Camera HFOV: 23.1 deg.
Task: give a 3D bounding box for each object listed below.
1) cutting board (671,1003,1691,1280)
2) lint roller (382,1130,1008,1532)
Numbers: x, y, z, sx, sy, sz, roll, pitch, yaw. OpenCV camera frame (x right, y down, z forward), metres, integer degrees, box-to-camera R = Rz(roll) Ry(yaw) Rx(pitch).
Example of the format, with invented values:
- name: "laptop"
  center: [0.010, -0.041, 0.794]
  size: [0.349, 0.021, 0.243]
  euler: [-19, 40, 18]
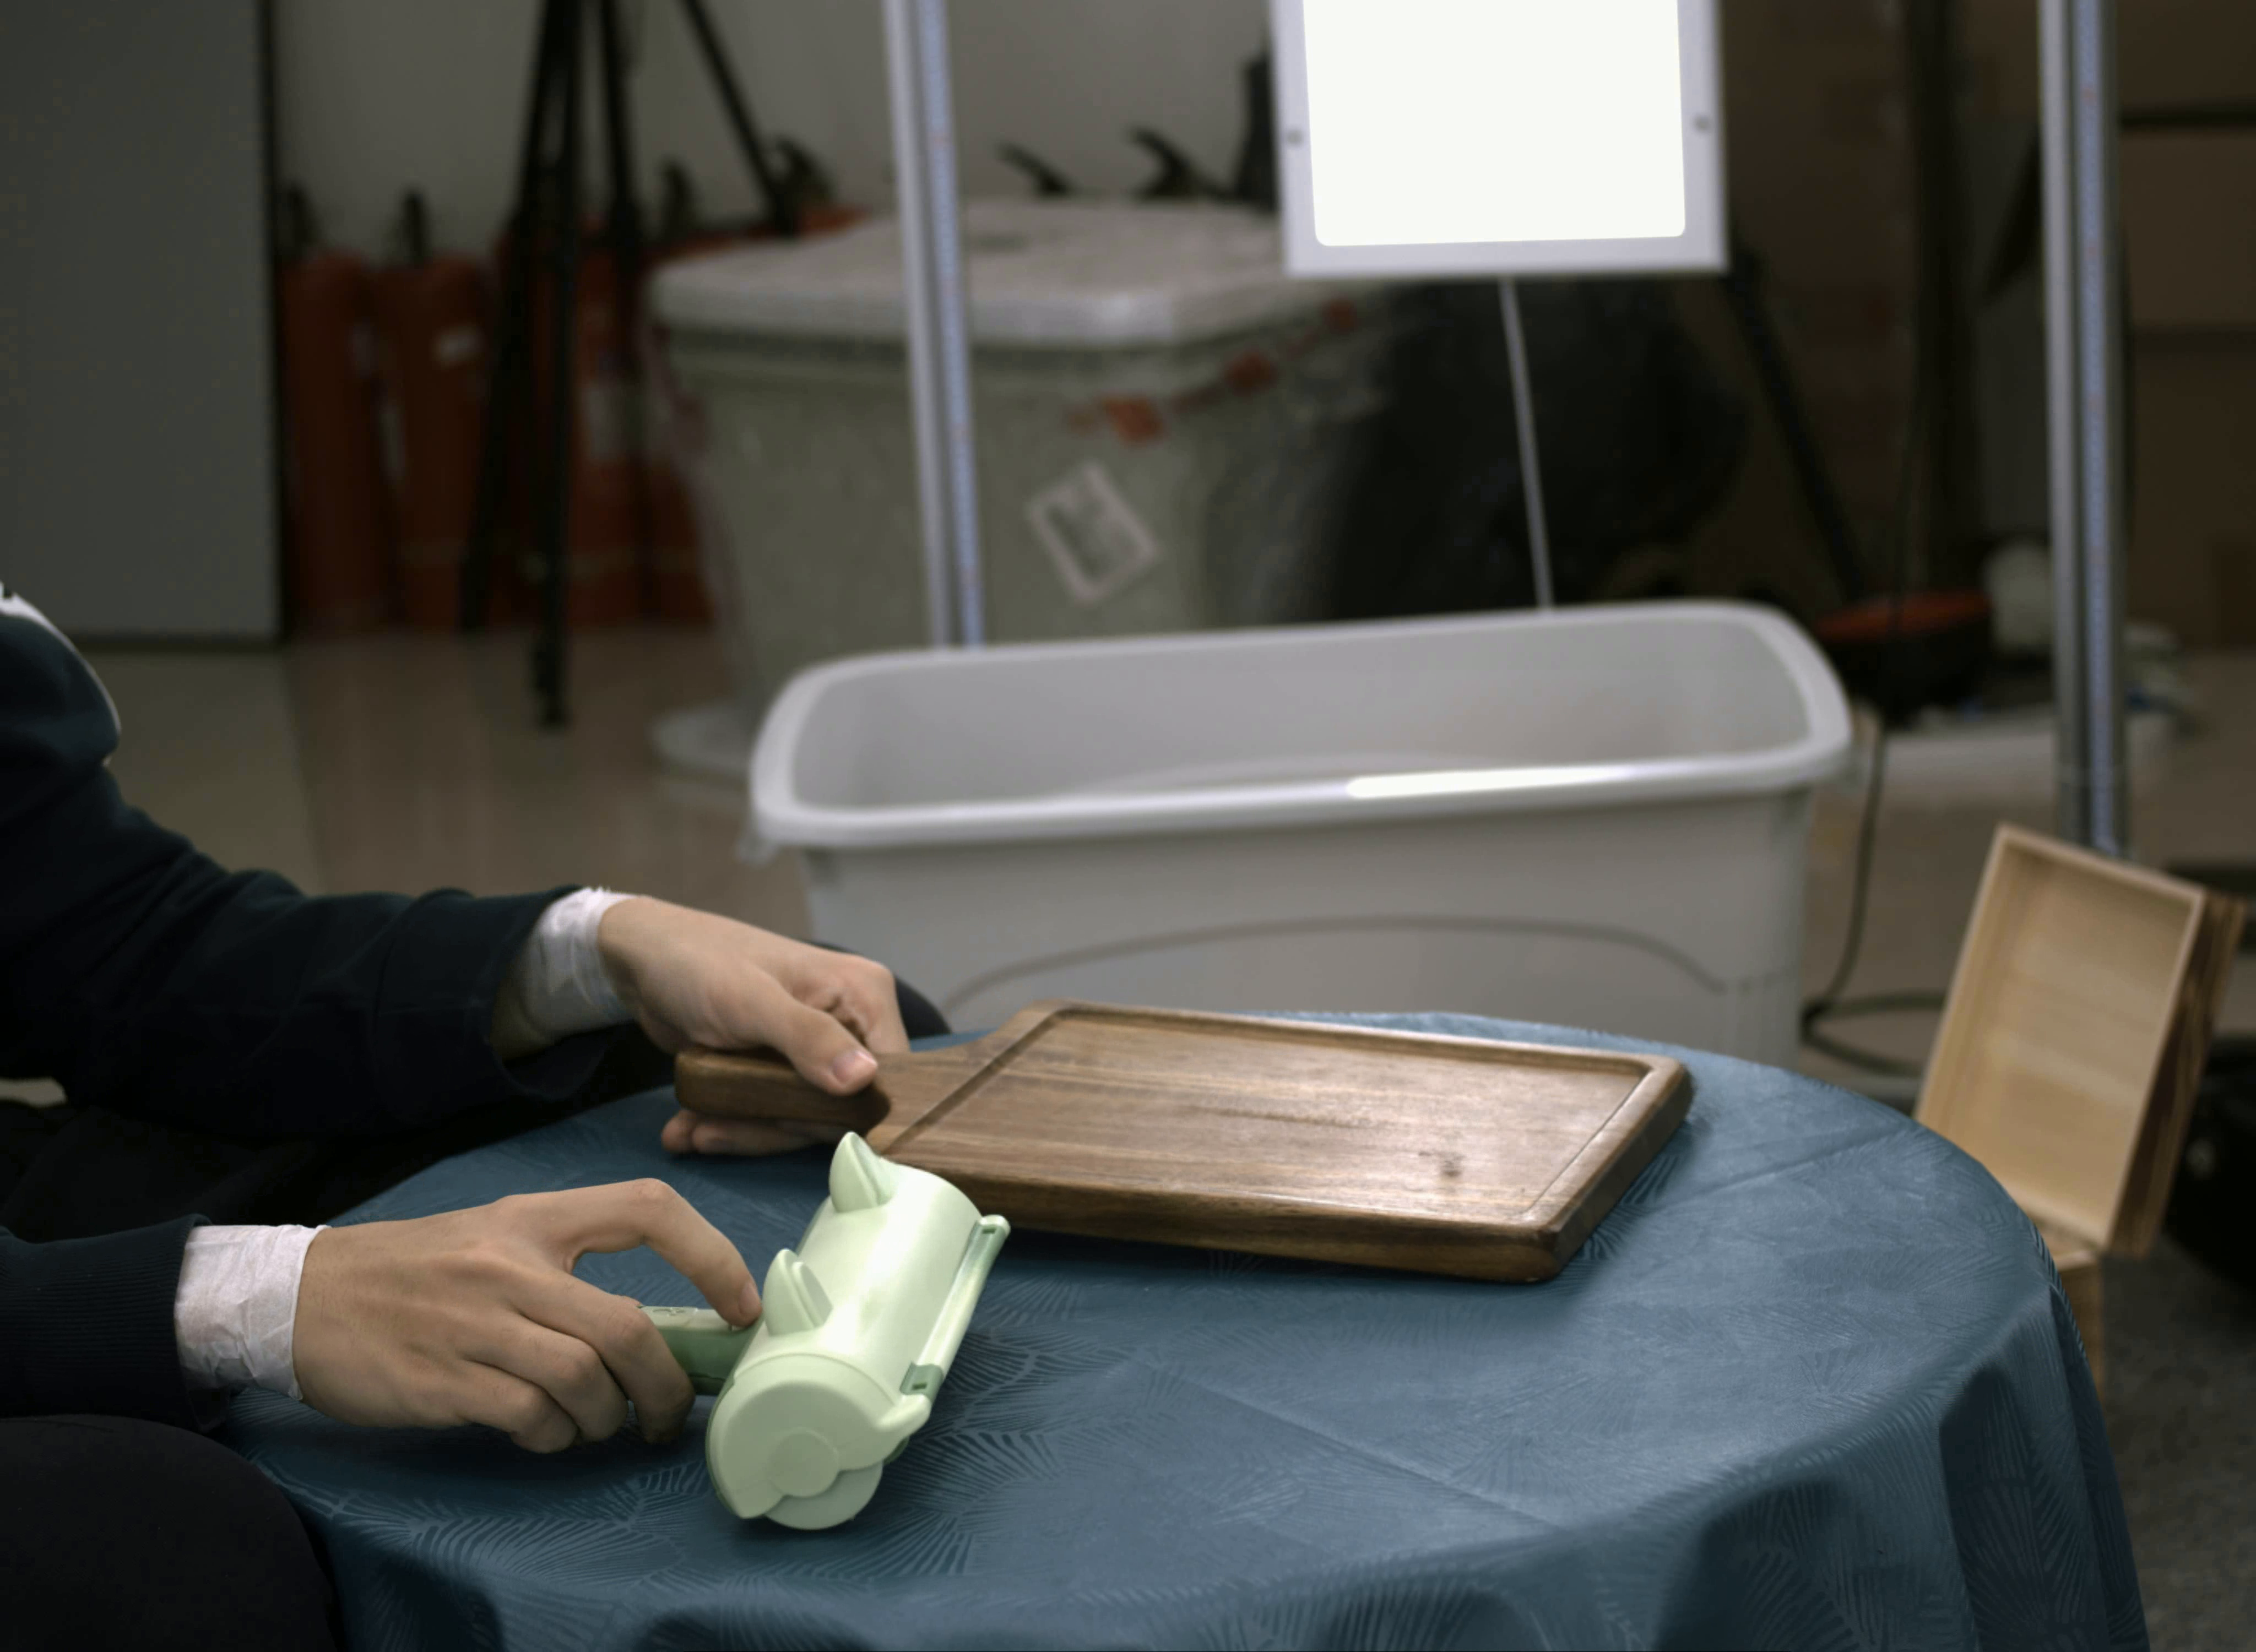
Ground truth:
- name: "cutting board"
  center: [0.005, 0.102, 1.906]
  size: [0.357, 0.023, 0.197]
  euler: [4, 16, 21]
- name: "lint roller"
  center: [-0.139, 0.147, 1.690]
  size: [0.184, 0.082, 0.197]
  euler: [3, 15, 8]
